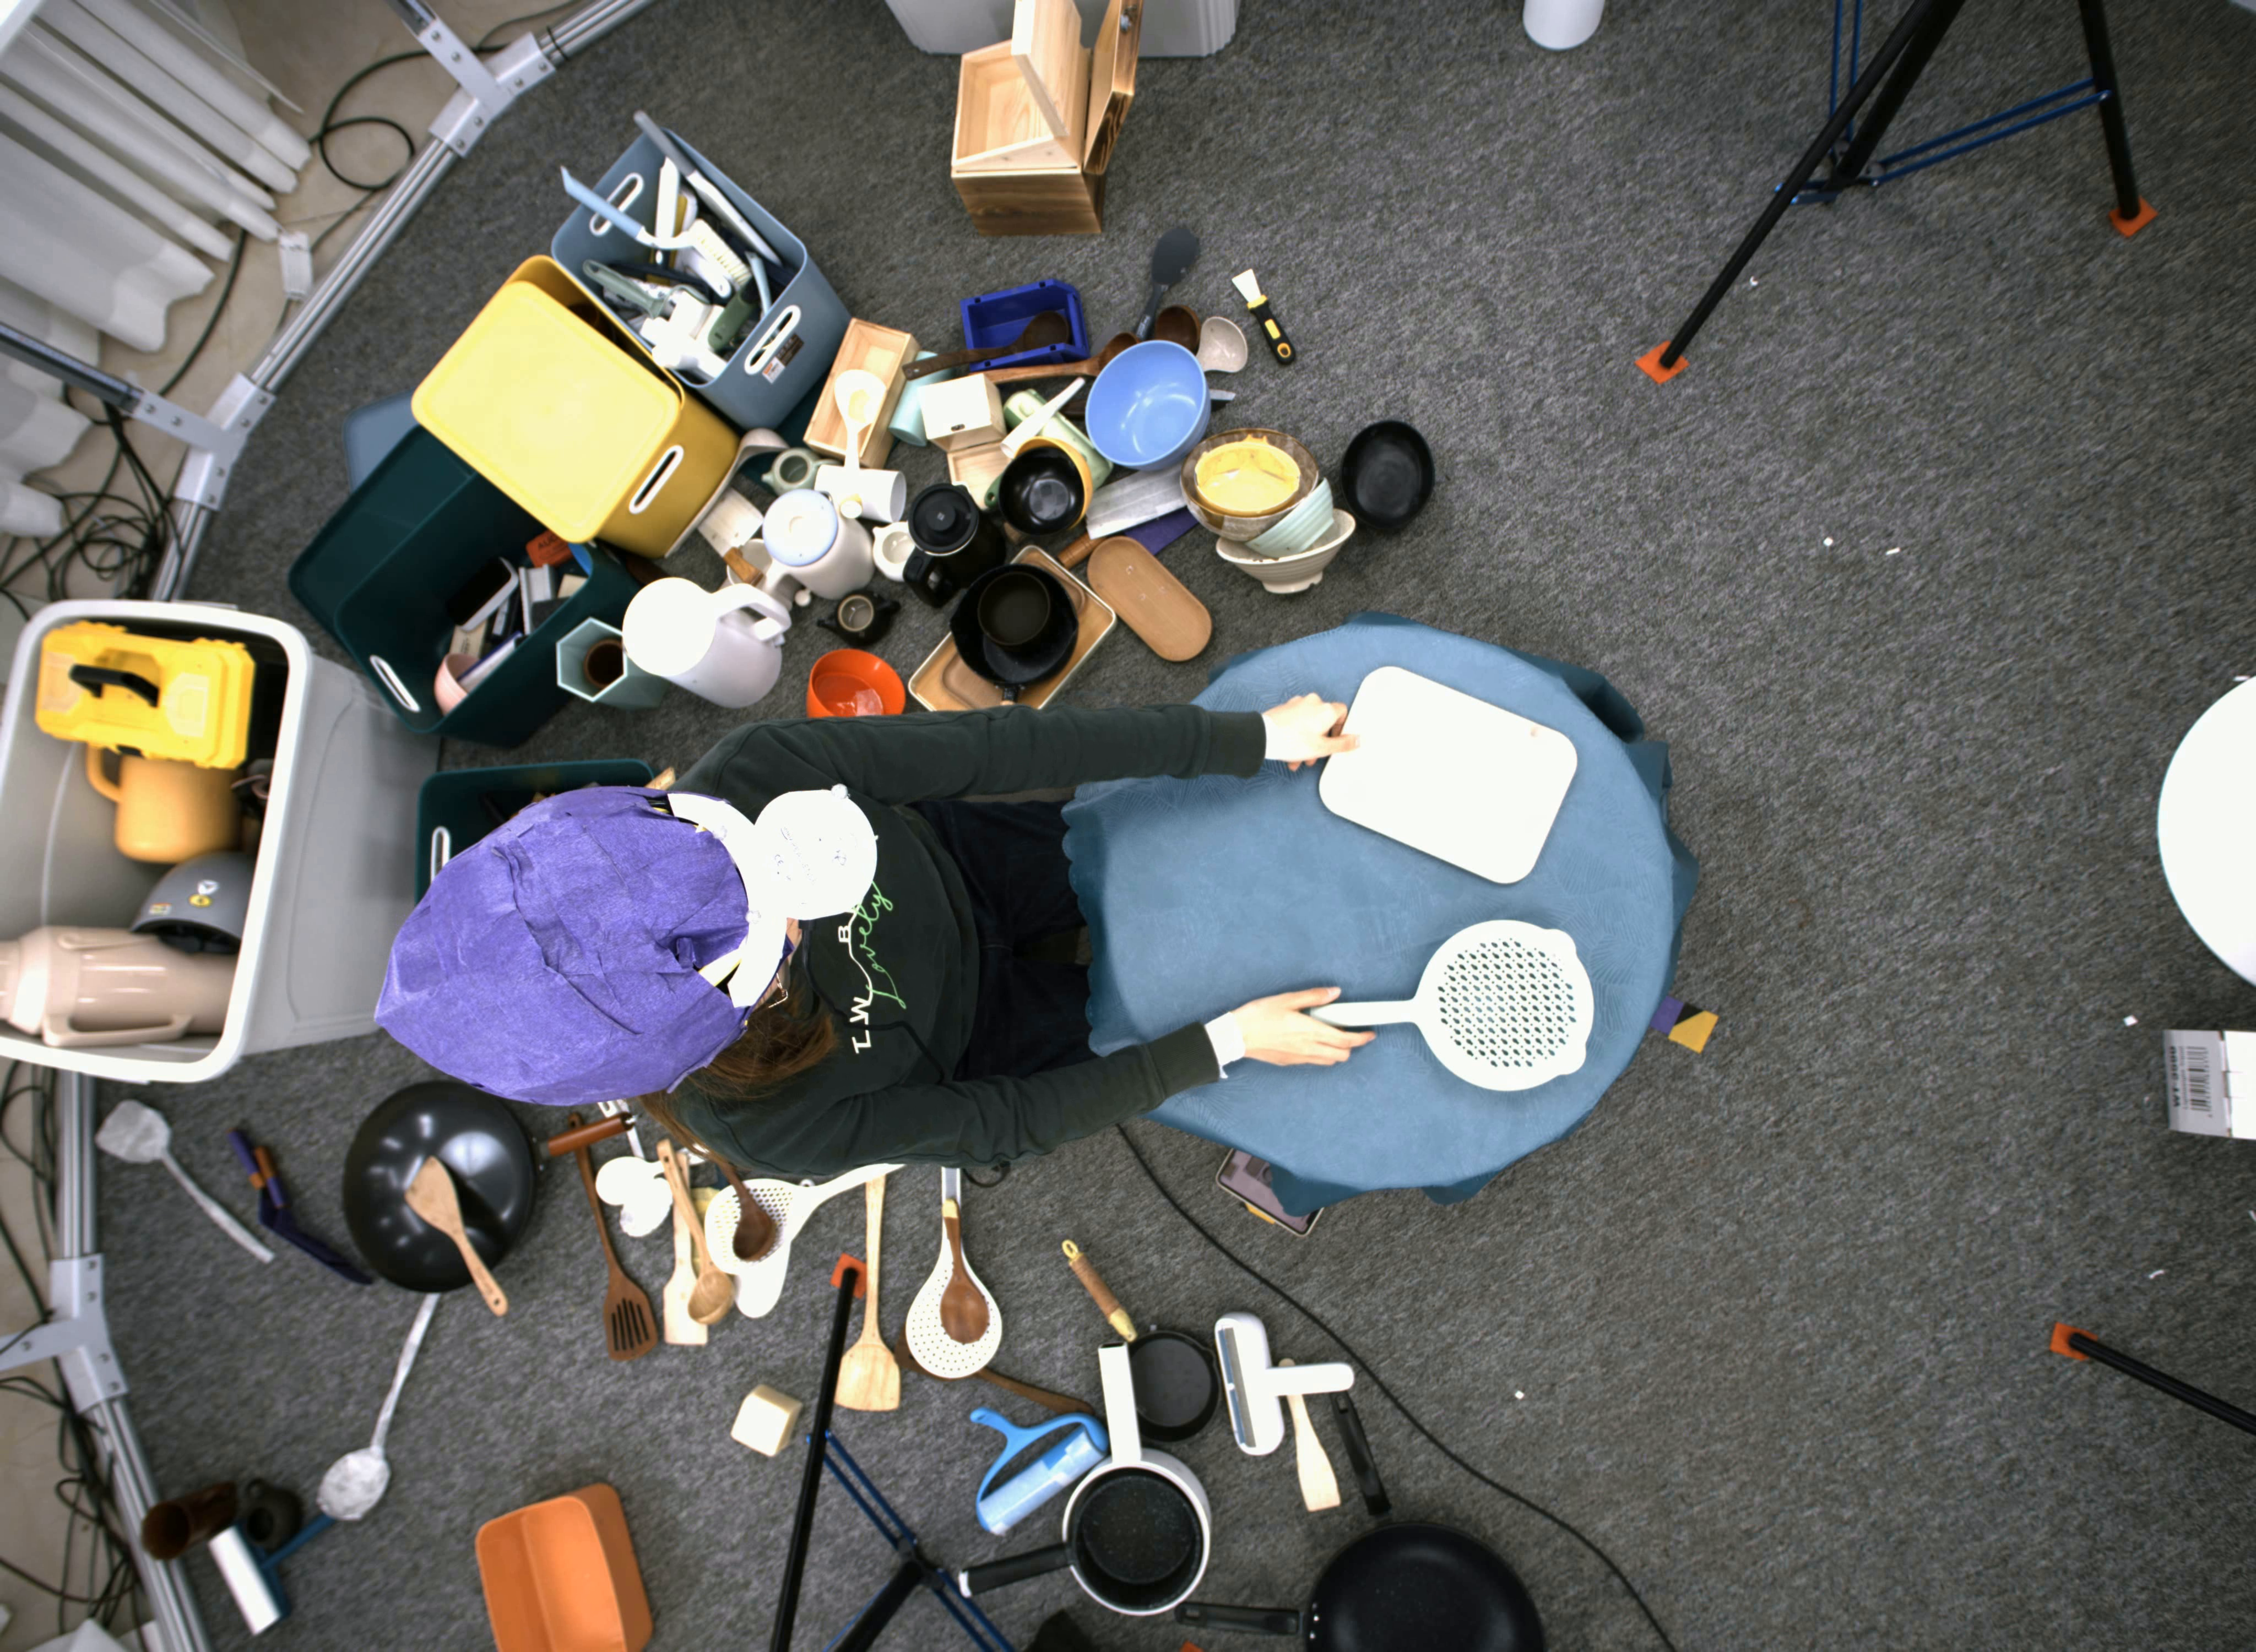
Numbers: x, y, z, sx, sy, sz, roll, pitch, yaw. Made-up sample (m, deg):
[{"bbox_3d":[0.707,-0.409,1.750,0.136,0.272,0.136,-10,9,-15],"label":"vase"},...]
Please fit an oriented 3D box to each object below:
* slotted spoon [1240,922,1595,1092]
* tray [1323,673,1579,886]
[{"bbox_3d":[0.290,0.190,1.421,0.360,0.075,0.168,-5,84,10],"label":"slotted spoon"},{"bbox_3d":[0.339,-0.052,1.452,0.239,0.017,0.171,23,90,12],"label":"tray"}]
